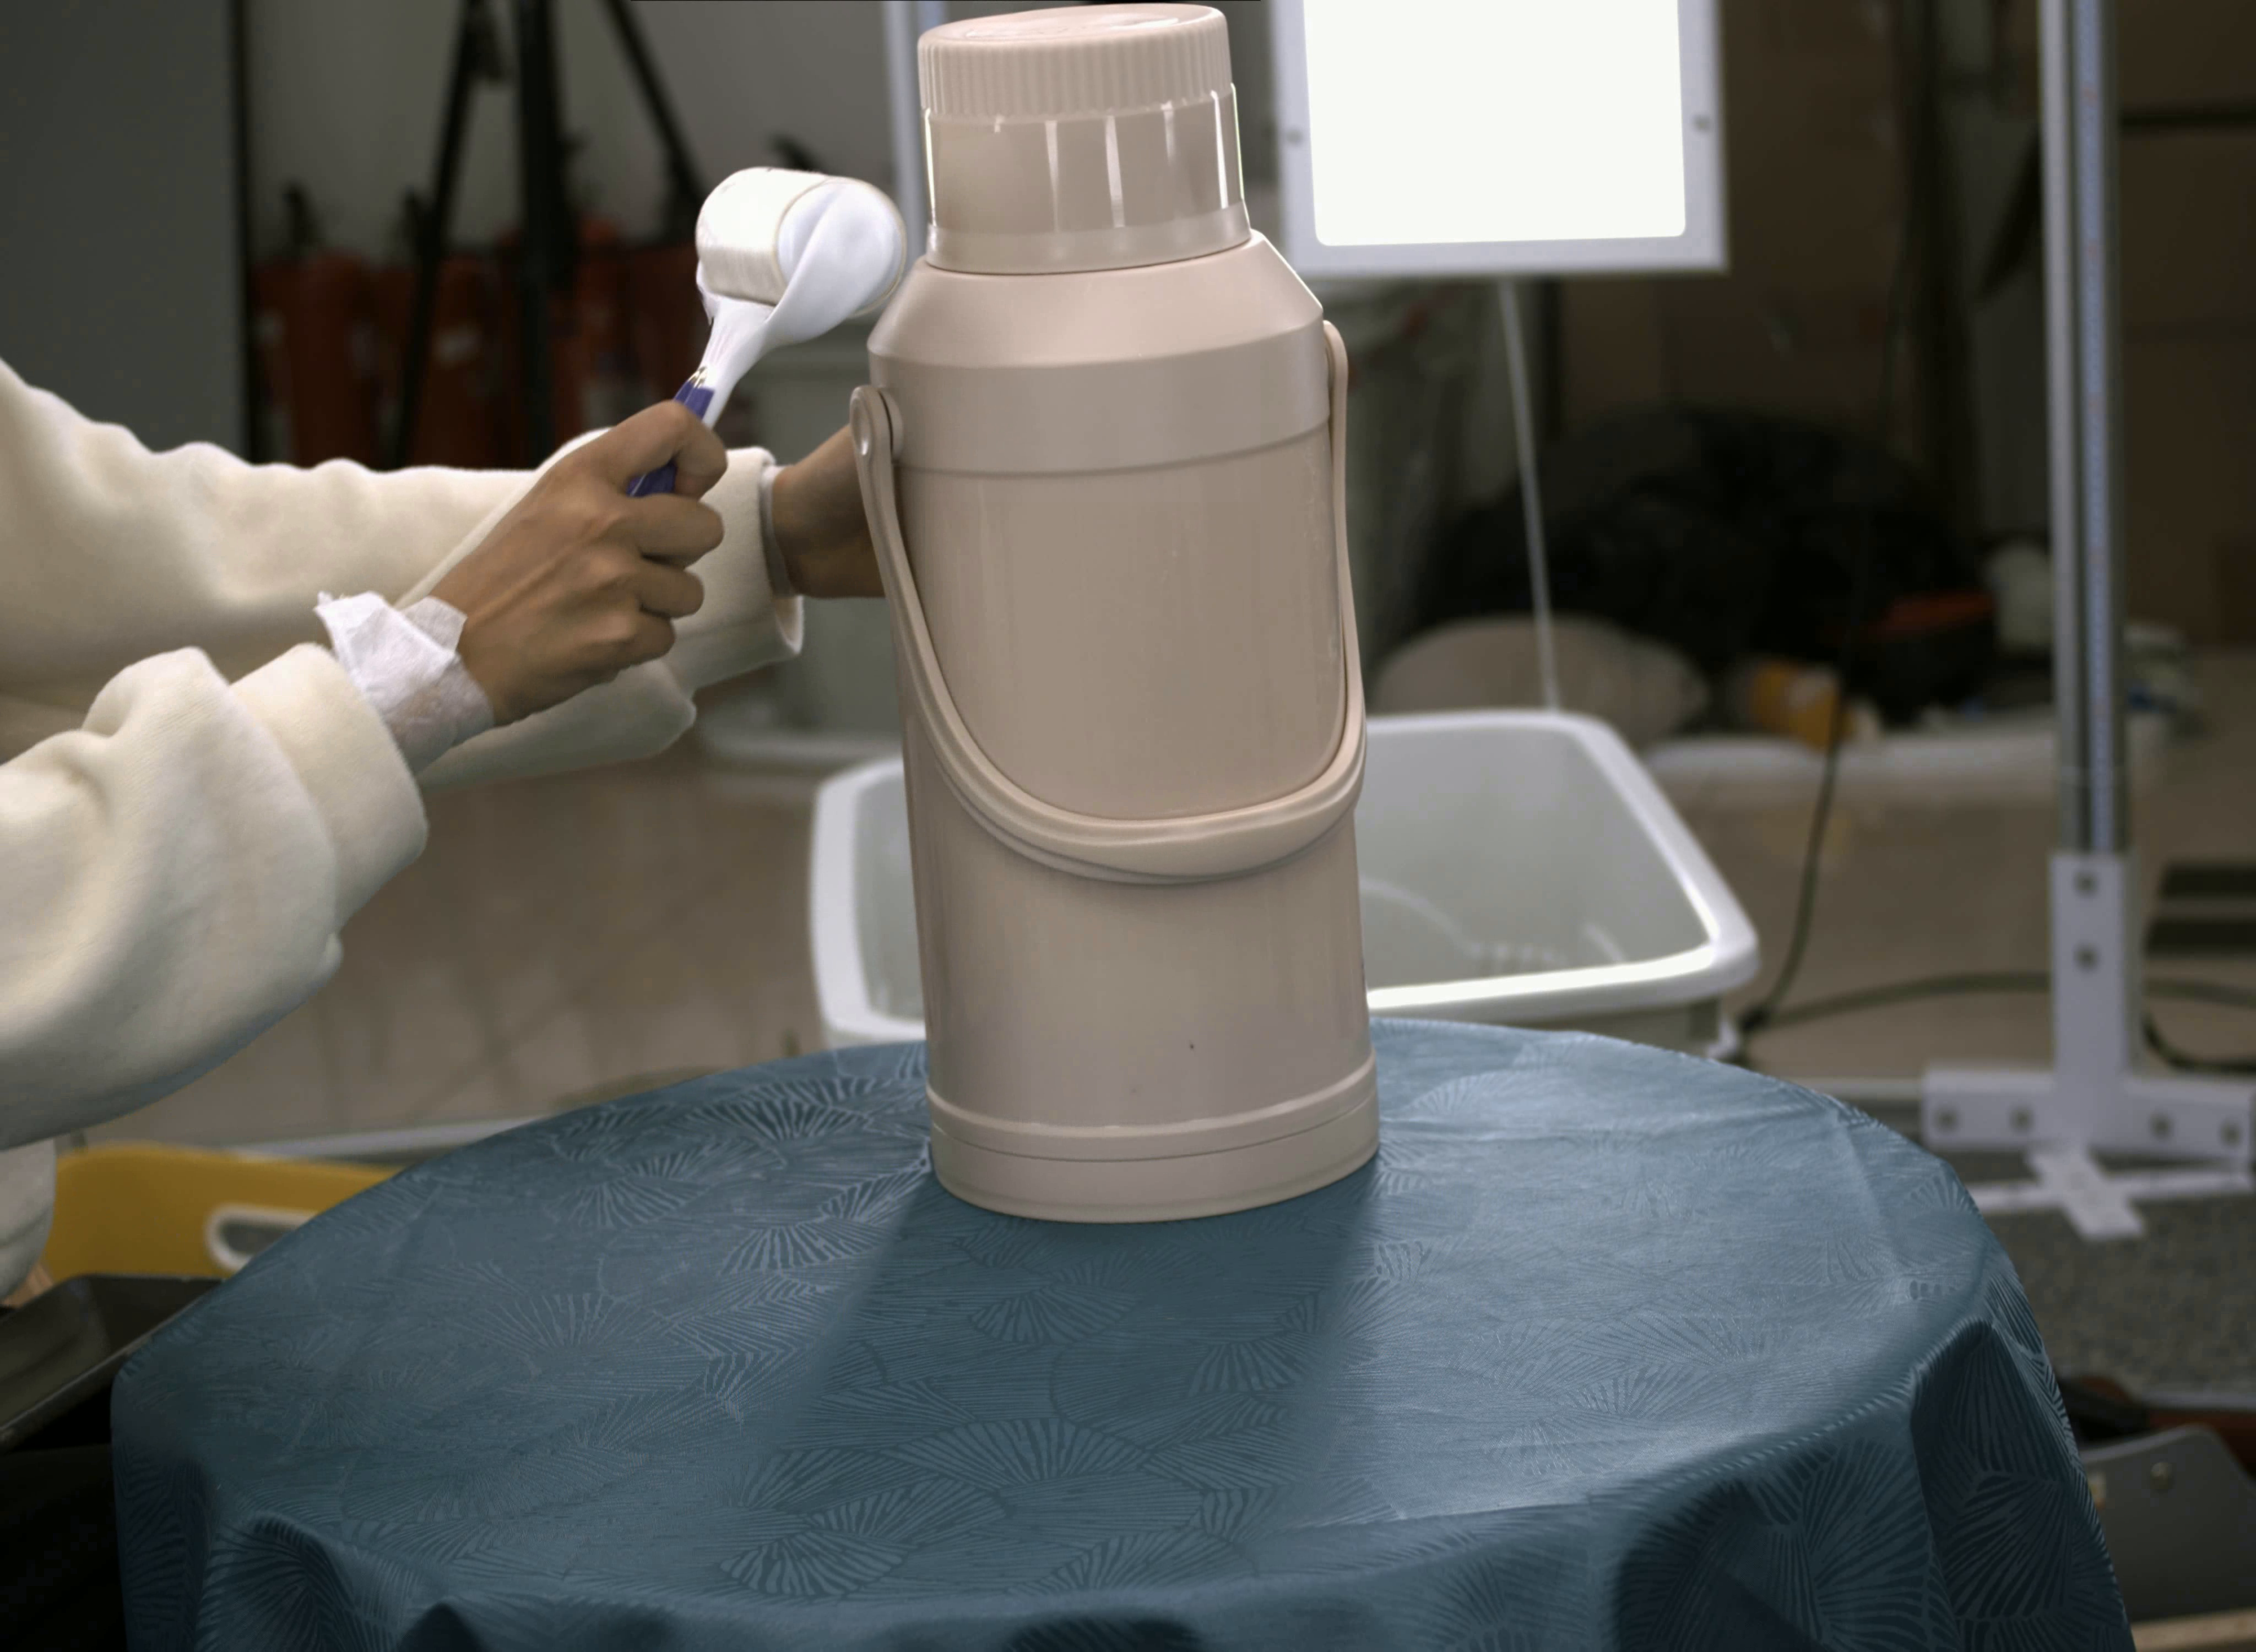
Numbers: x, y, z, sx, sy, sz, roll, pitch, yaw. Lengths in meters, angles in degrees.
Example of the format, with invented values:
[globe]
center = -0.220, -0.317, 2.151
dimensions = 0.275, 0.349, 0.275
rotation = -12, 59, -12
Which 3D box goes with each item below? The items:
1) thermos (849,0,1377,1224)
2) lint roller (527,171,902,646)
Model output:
[thermos]
center = -0.008, -0.078, 1.903
dimensions = 0.172, 0.408, 0.210
rotation = -10, 15, -20
[lint roller]
center = -0.152, -0.142, 1.818
dimensions = 0.180, 0.050, 0.134
rotation = -49, 19, -3
